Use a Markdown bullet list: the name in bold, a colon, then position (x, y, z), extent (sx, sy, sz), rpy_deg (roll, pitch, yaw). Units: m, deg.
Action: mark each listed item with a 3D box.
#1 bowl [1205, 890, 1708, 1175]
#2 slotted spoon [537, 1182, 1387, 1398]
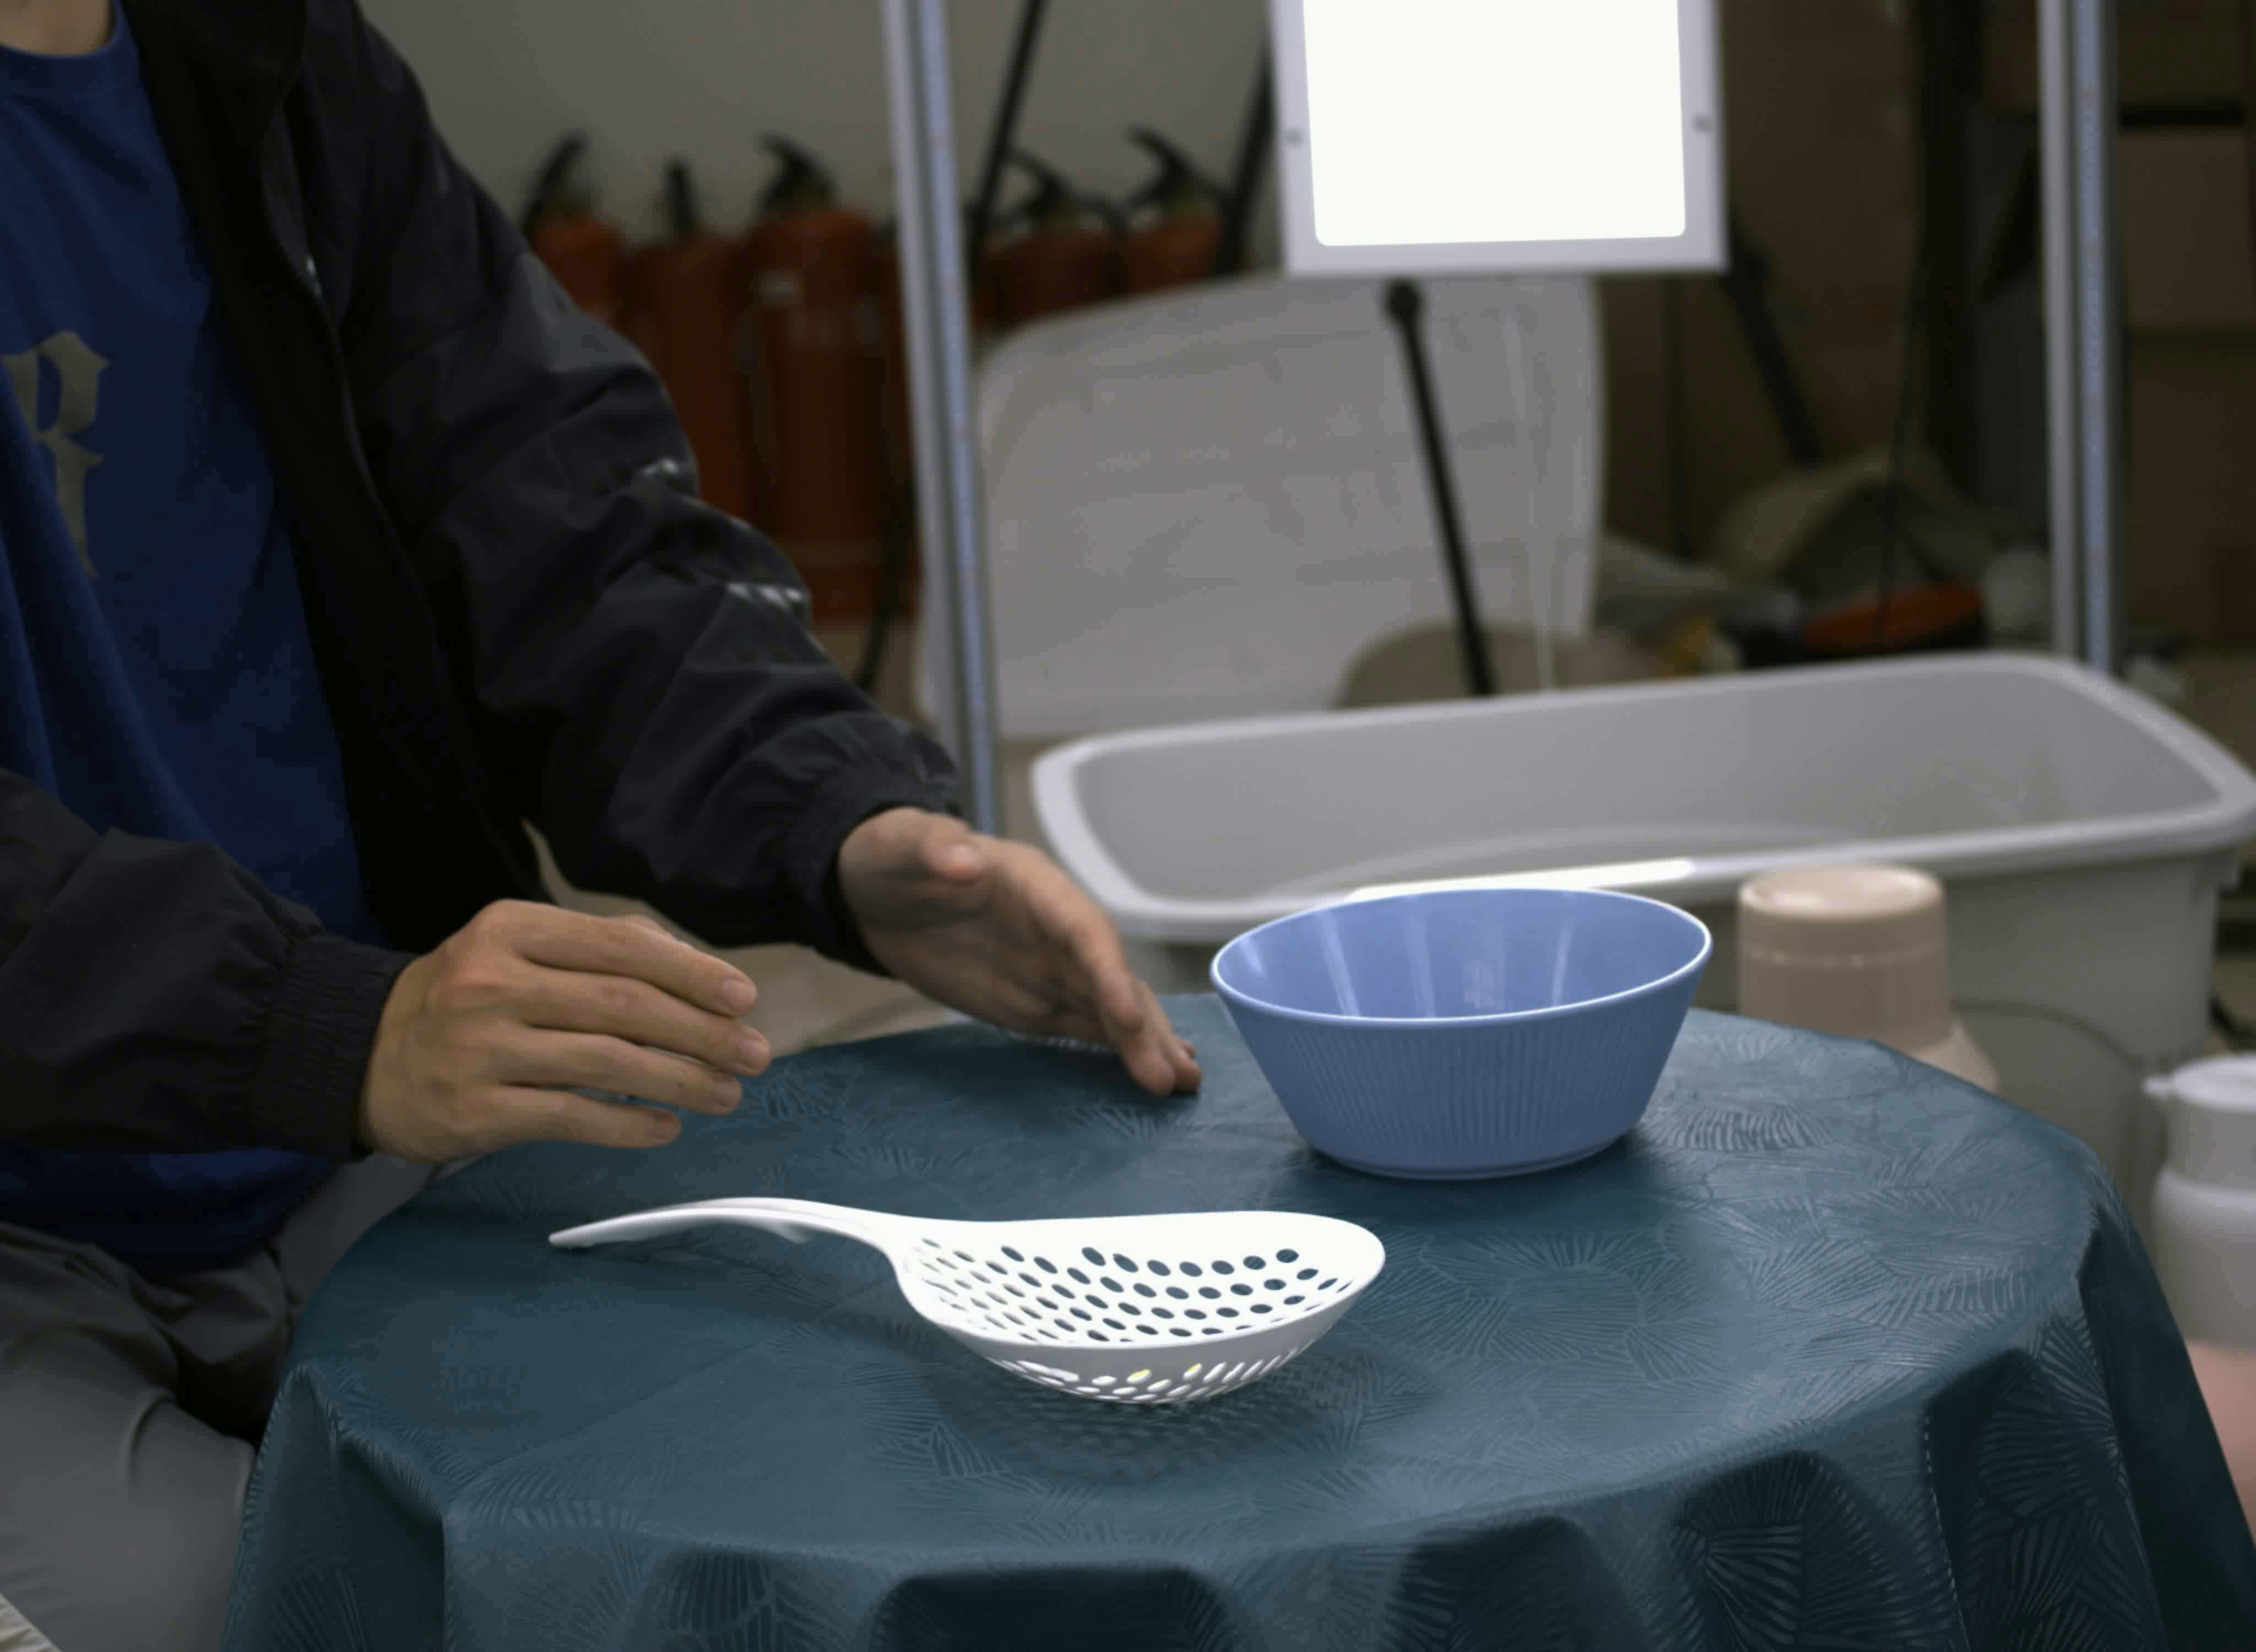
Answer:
- **bowl**: position (0.117, 0.074, 1.920), extent (0.175, 0.070, 0.176), rpy_deg (-5, 13, 0)
- **slotted spoon**: position (-0.068, 0.142, 1.770), extent (0.355, 0.050, 0.133), rpy_deg (7, 22, 43)
